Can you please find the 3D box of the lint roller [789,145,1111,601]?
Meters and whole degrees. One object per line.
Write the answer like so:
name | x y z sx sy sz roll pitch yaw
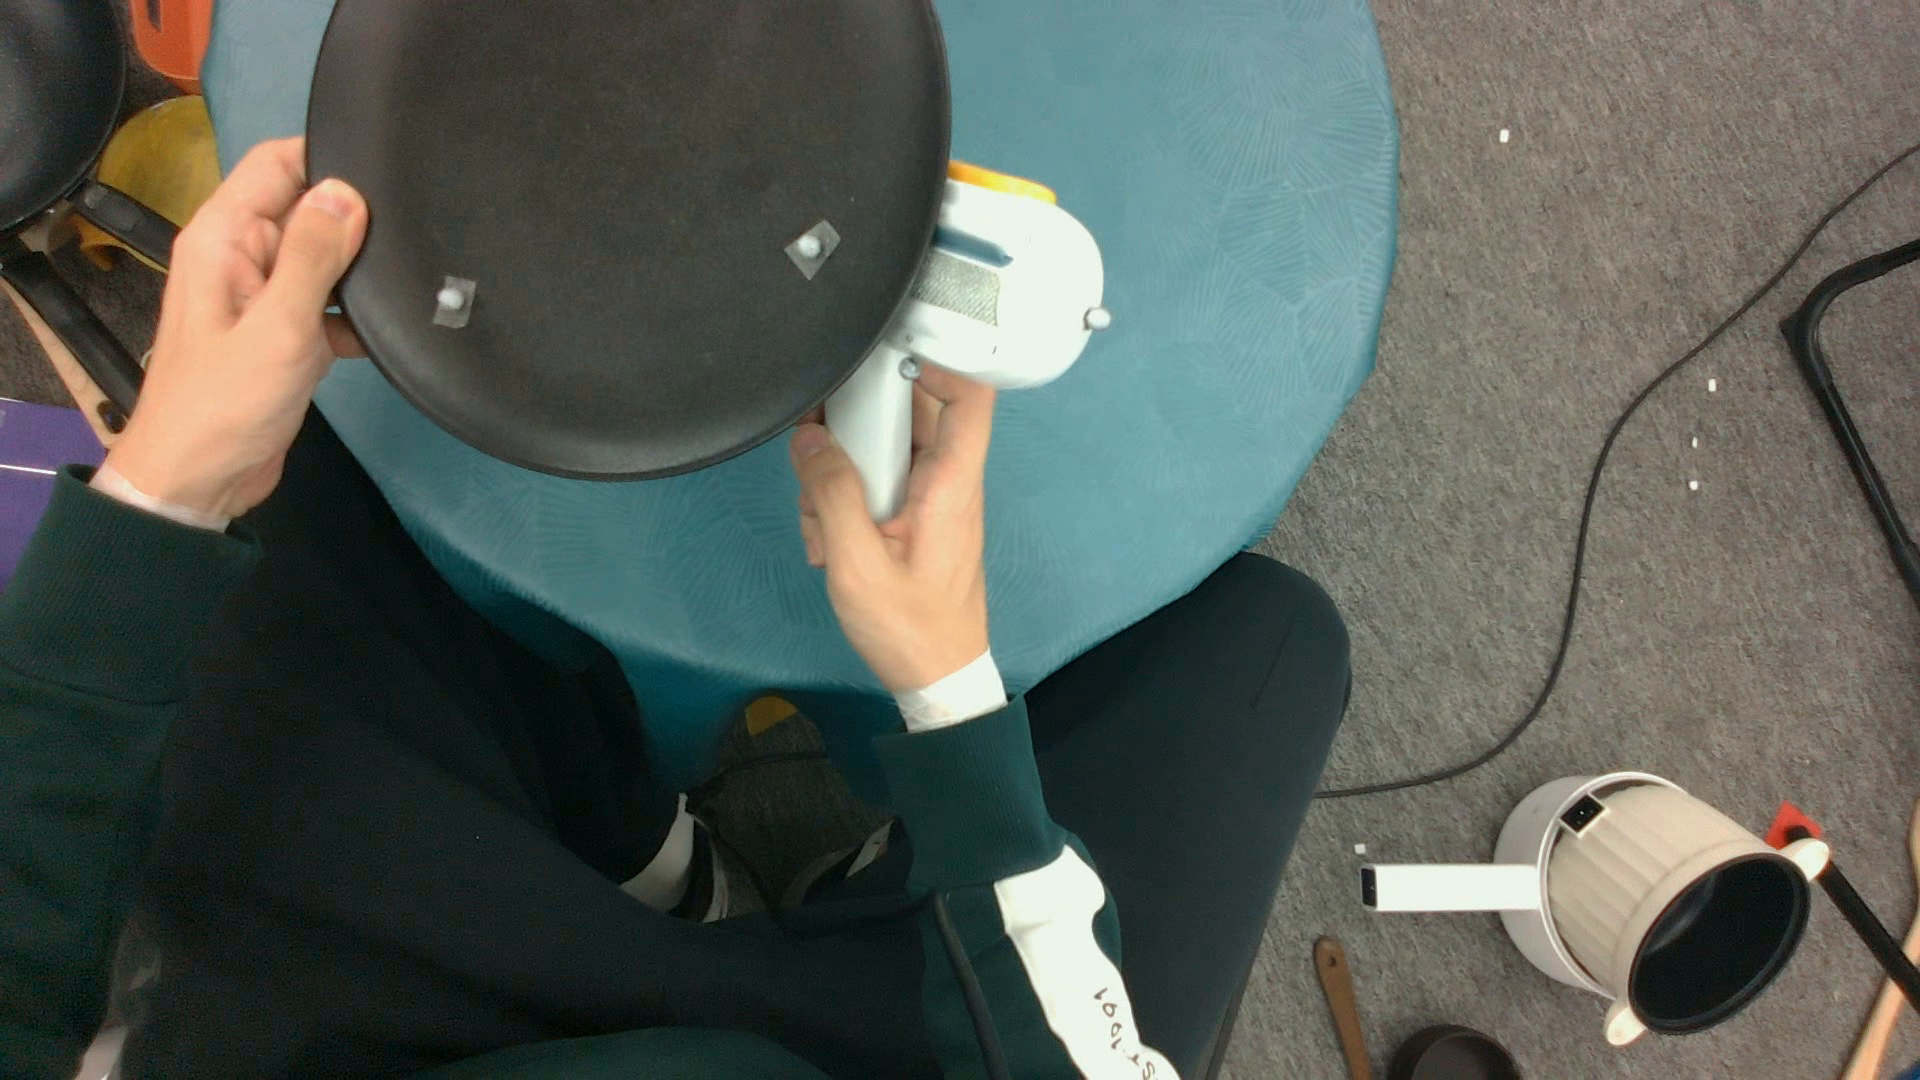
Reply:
lint roller | -0.040 -0.061 0.537 0.193 0.074 0.192 28 112 30

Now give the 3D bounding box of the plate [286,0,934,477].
plate | -0.126 -0.143 0.491 0.244 0.023 0.244 0 91 11
